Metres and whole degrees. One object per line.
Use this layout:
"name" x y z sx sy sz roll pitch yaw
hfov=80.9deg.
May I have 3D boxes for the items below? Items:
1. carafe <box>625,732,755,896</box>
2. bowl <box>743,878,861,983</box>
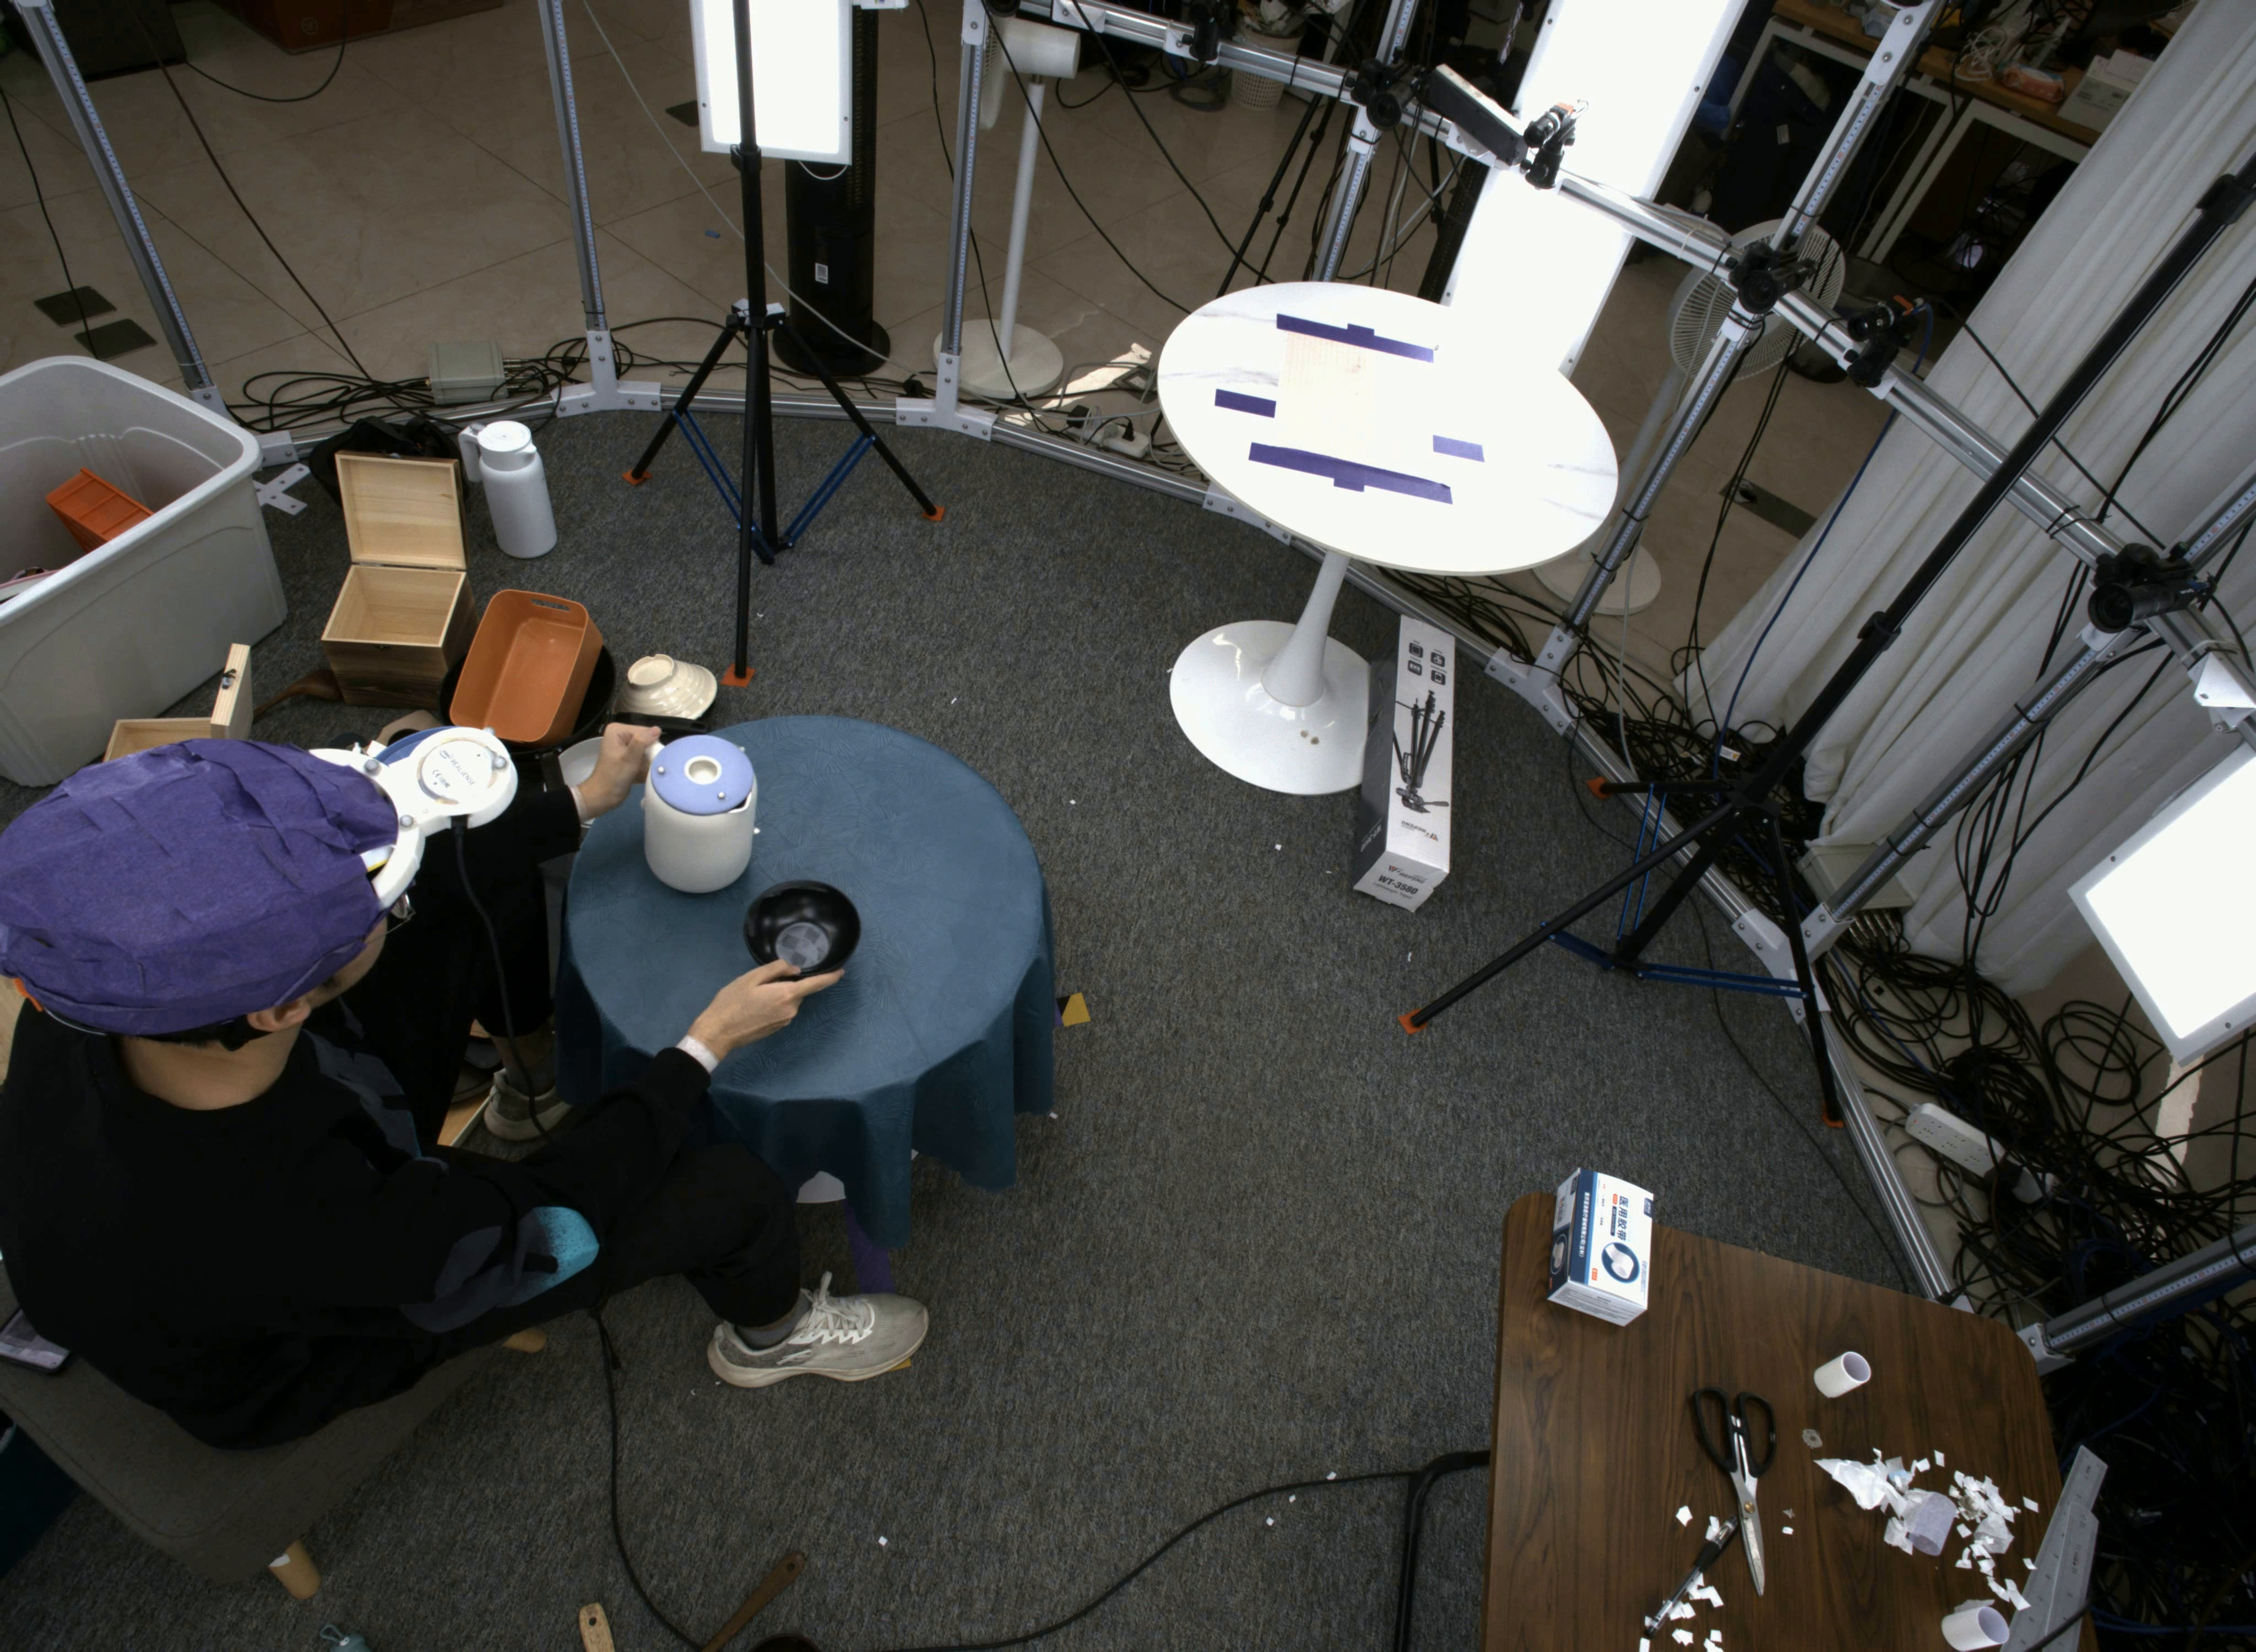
"carafe" -0.547 -0.029 1.585 0.189 0.185 0.132 32 49 7
"bowl" -0.394 0.132 1.569 0.140 0.050 0.138 8 55 -10
